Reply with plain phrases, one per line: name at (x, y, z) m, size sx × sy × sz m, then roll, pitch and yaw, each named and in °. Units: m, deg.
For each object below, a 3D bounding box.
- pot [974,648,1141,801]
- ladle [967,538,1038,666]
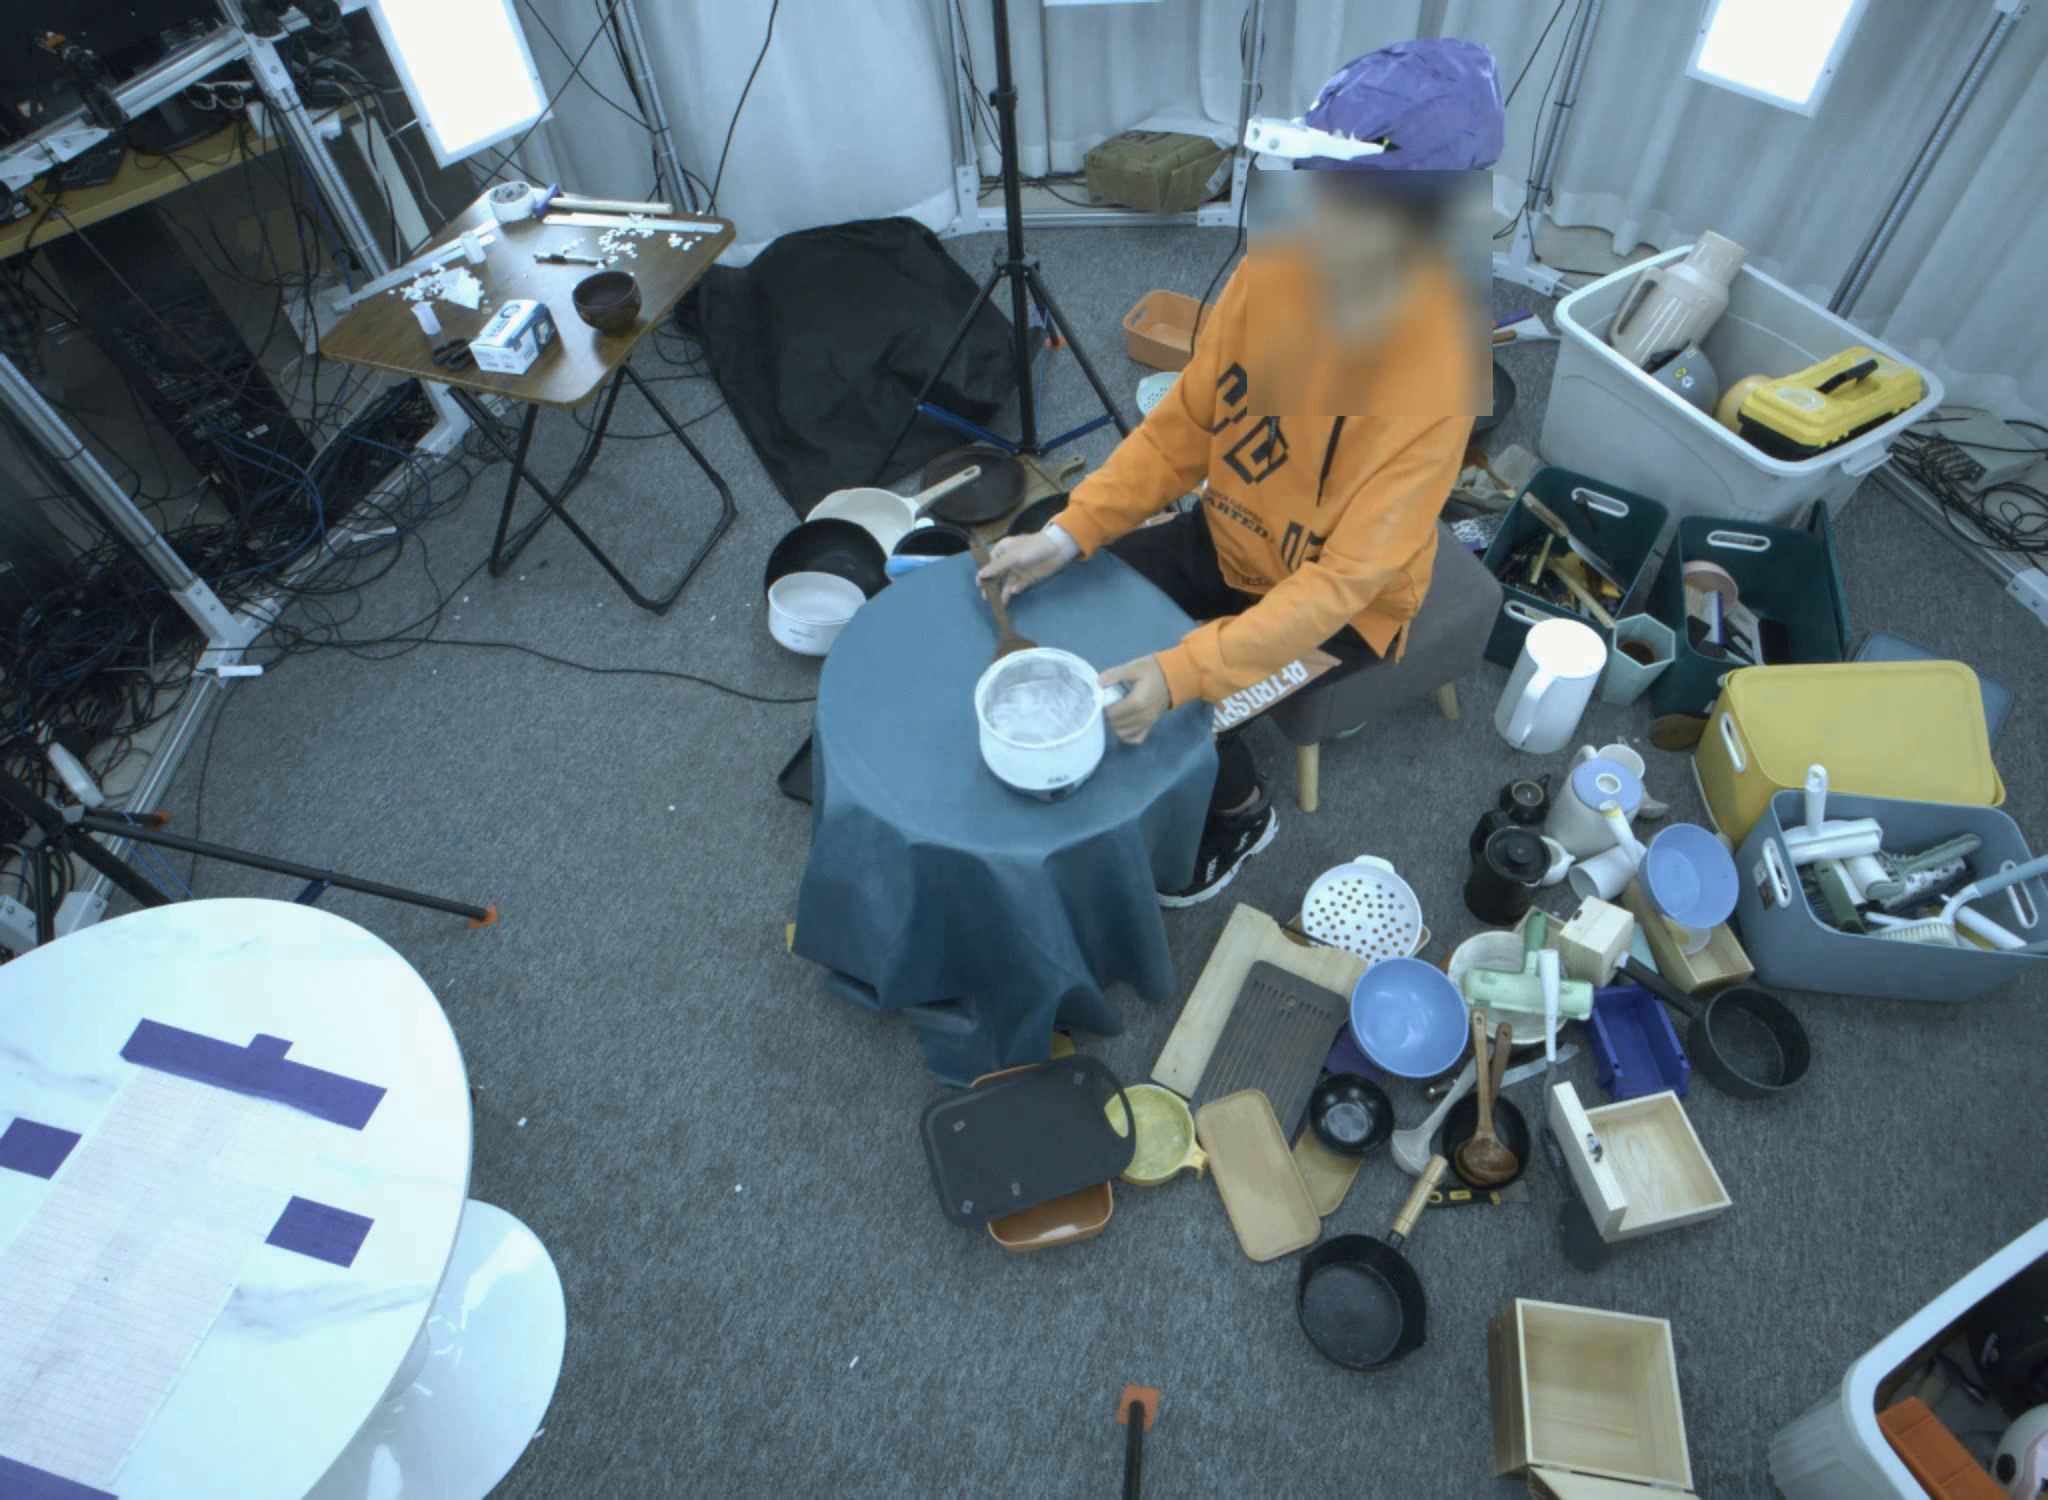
pot at (0.051, -0.042, 1.730) m, size 0.235 × 0.138 × 0.176 m, roll -15°, pitch 56°, yaw -8°
ladle at (-0.046, -0.238, 1.895) m, size 0.076 × 0.072 × 0.270 m, roll -17°, pitch 66°, yaw -2°
